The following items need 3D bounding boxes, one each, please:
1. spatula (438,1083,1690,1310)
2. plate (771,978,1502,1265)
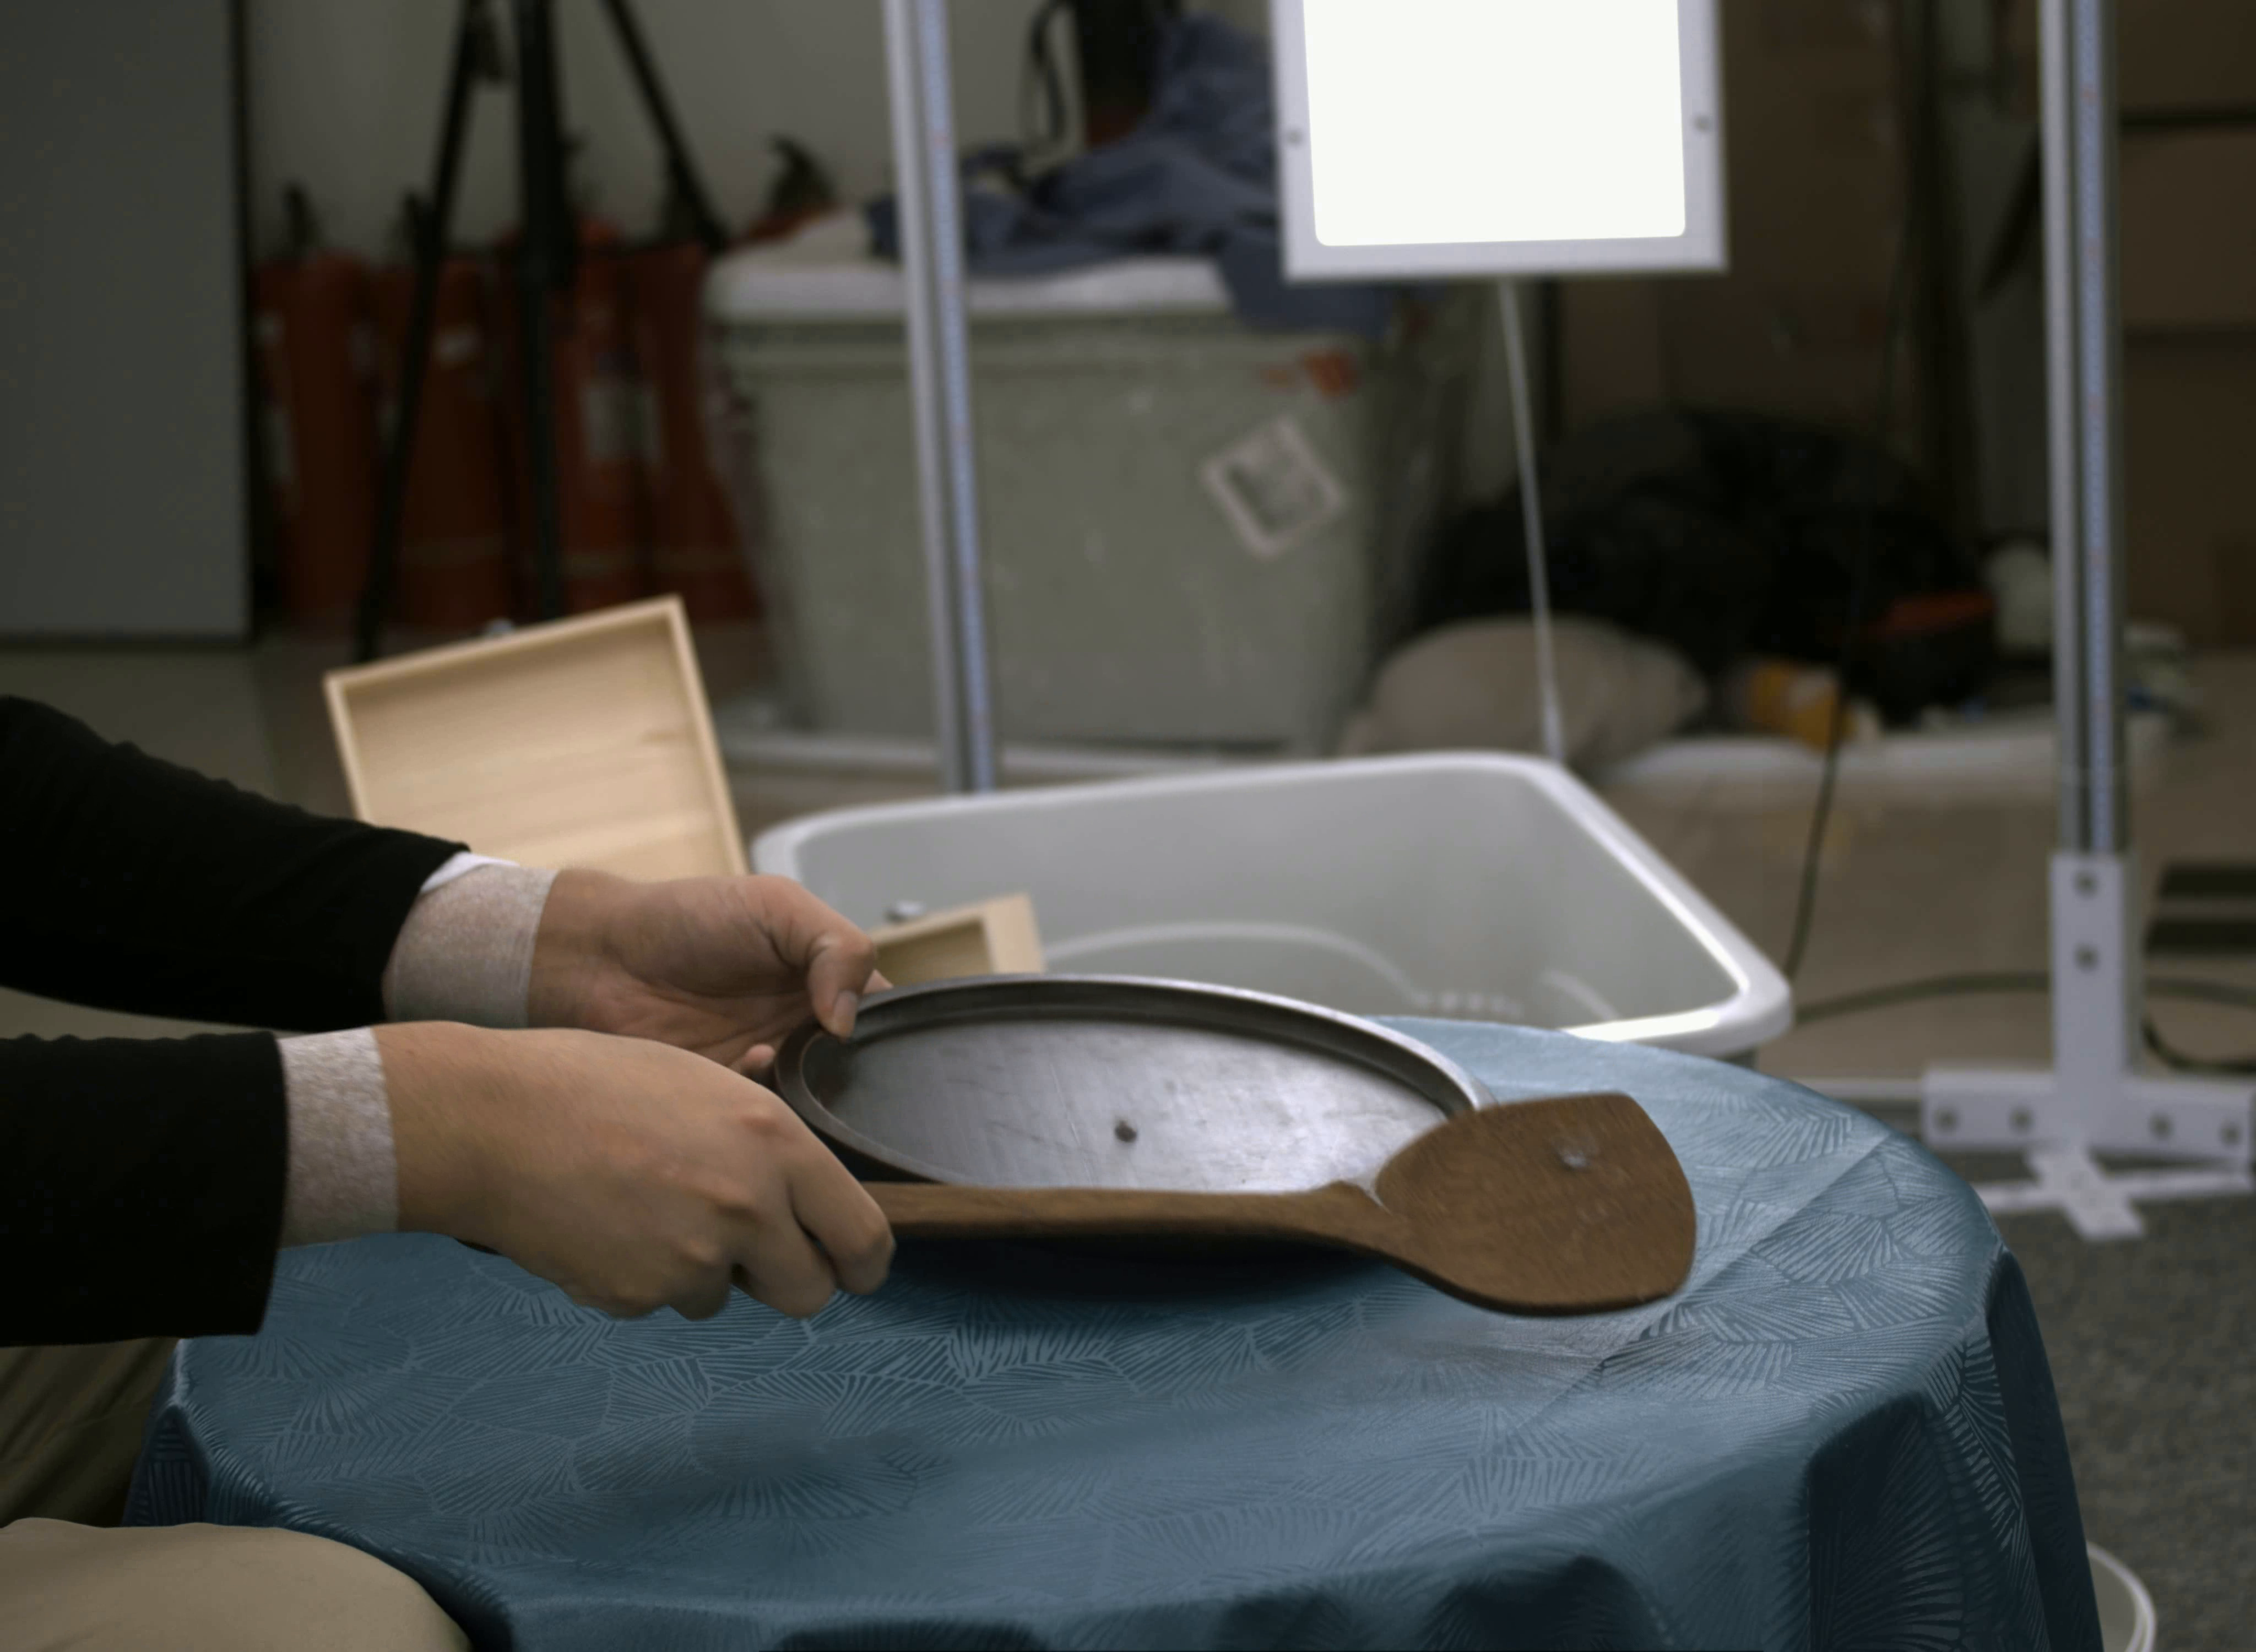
[{"bbox_3d":[-0.017,0.116,1.683,0.382,0.016,0.096,0,40,-7],"label":"spatula"},{"bbox_3d":[0.003,0.098,1.884,0.253,0.029,0.254,4,17,-3],"label":"plate"}]
